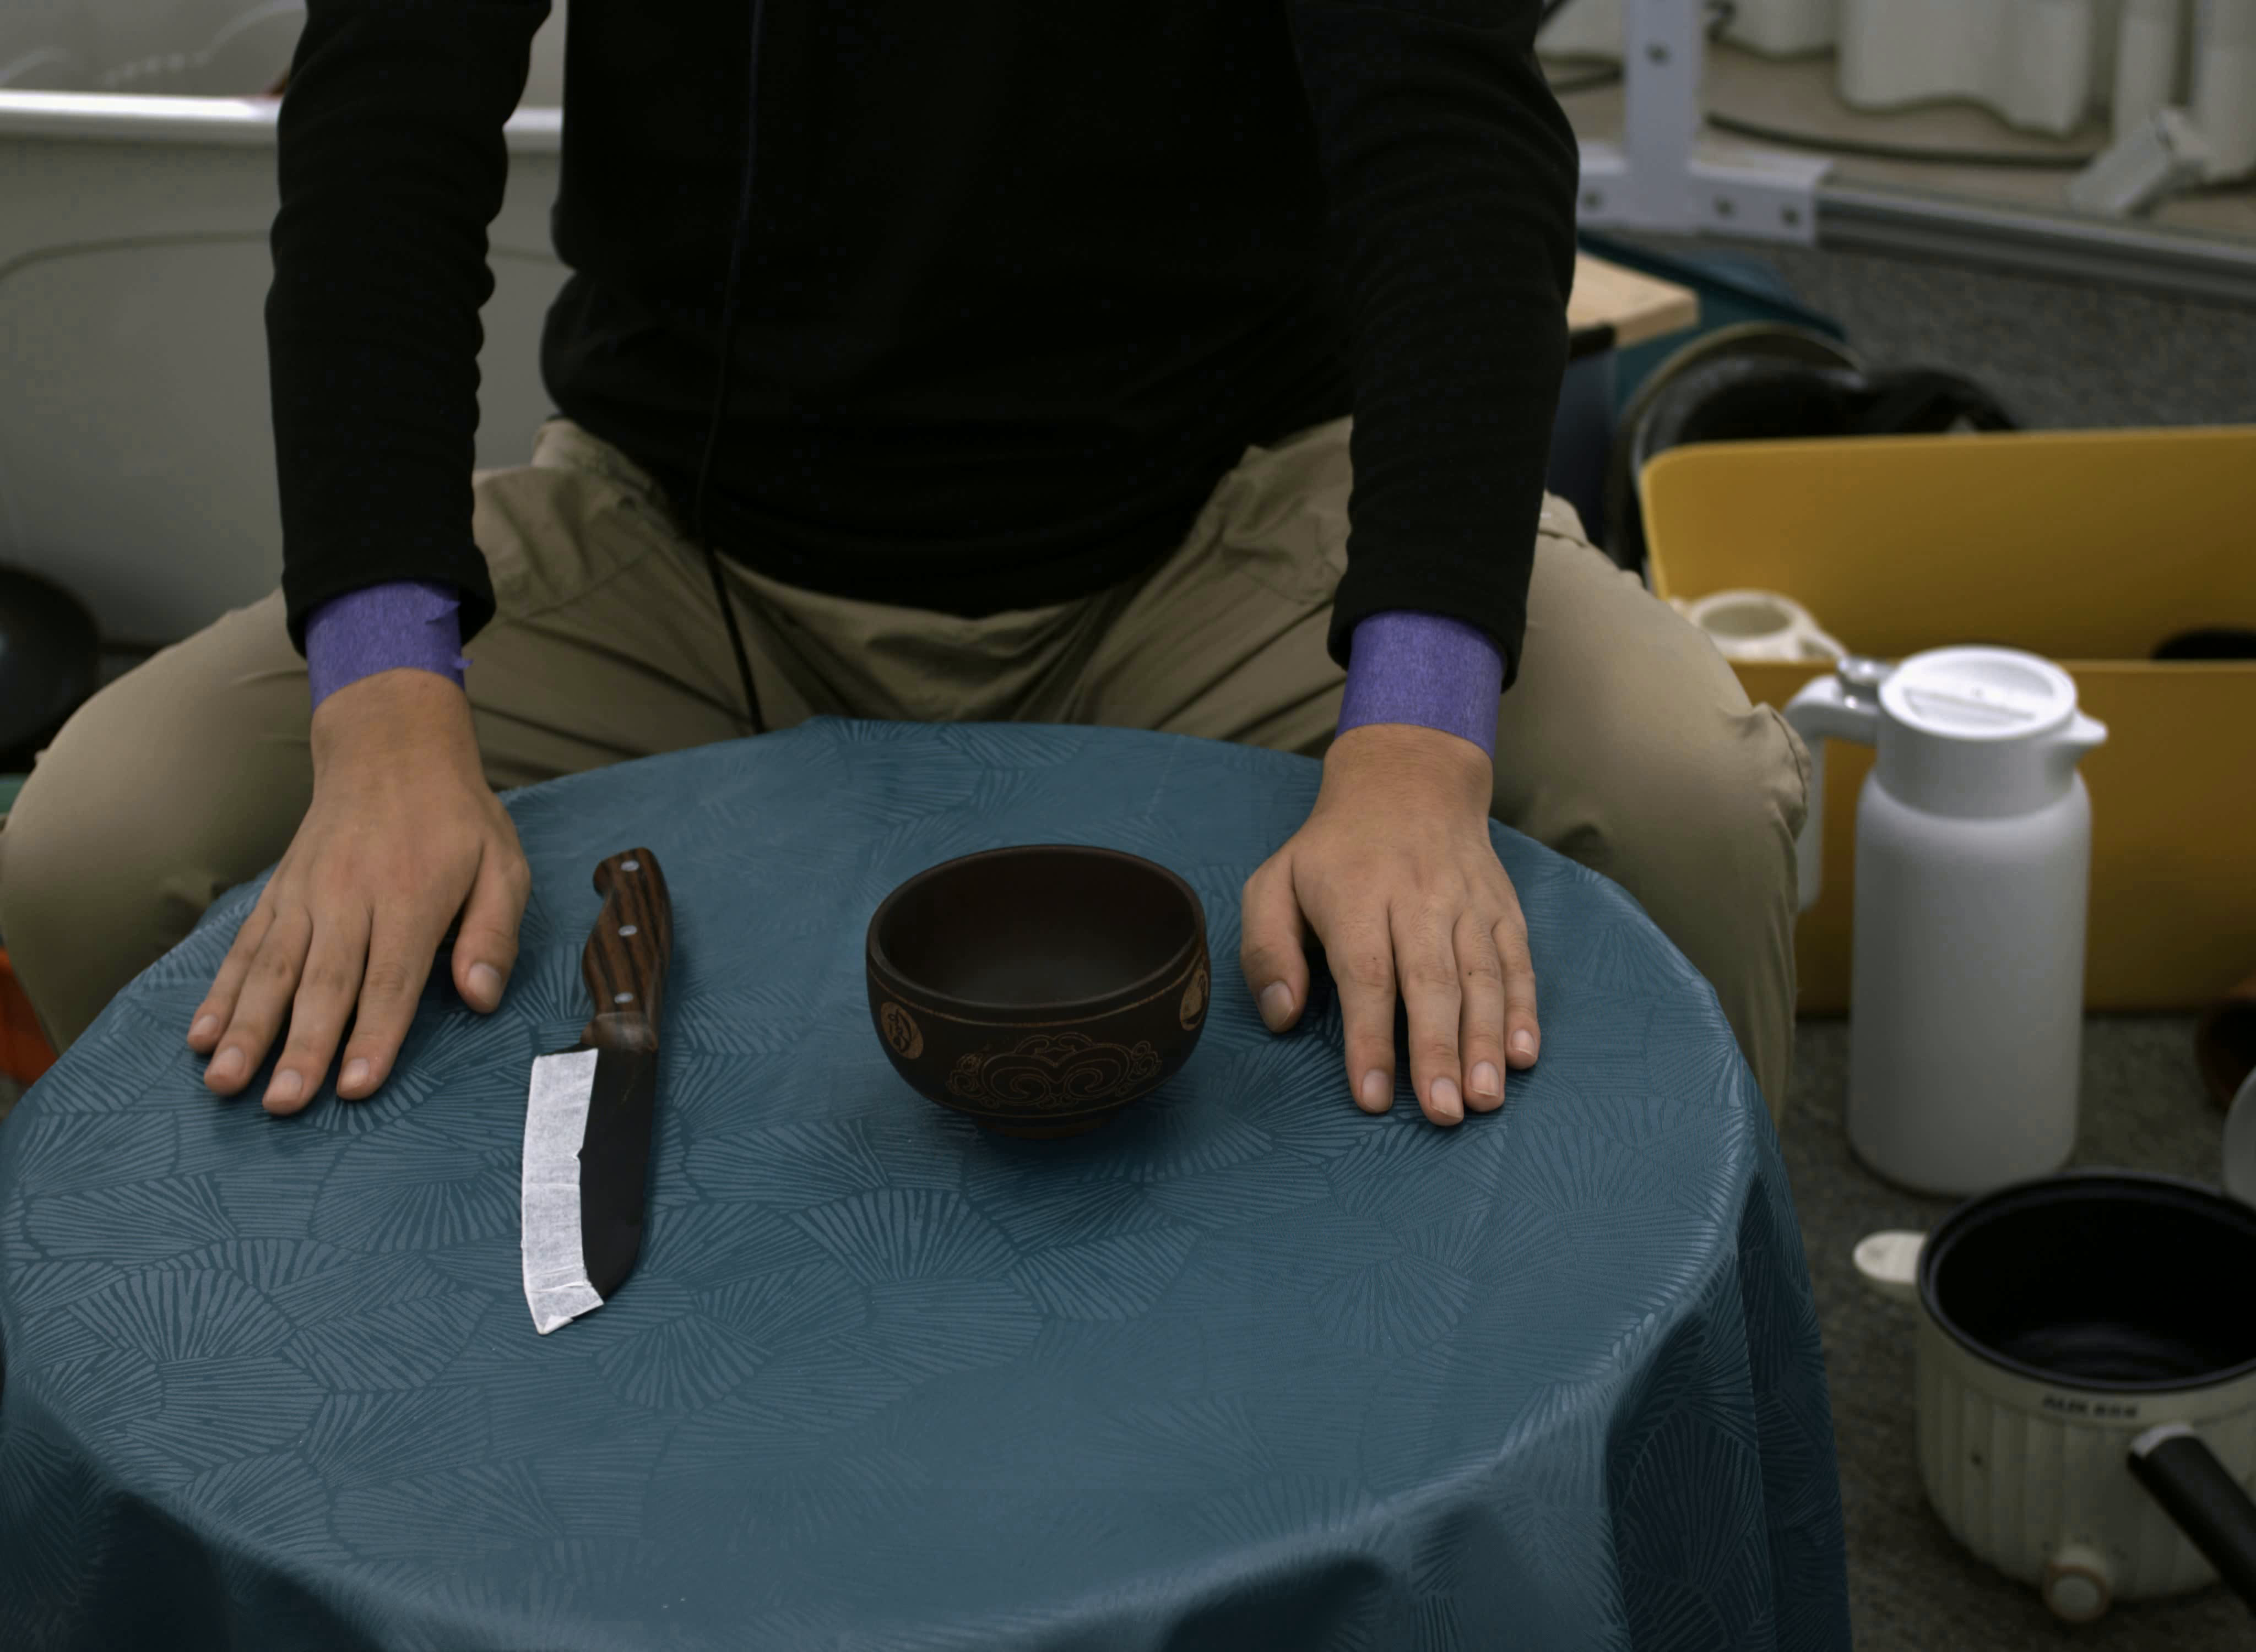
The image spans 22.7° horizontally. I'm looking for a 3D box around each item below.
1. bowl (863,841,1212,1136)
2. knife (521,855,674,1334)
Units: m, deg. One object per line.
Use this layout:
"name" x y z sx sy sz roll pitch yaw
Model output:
"bowl" -0.030 0.061 1.900 0.117 0.069 0.120 -2 26 1
"knife" -0.181 0.090 1.922 0.050 0.020 0.294 -6 30 4
